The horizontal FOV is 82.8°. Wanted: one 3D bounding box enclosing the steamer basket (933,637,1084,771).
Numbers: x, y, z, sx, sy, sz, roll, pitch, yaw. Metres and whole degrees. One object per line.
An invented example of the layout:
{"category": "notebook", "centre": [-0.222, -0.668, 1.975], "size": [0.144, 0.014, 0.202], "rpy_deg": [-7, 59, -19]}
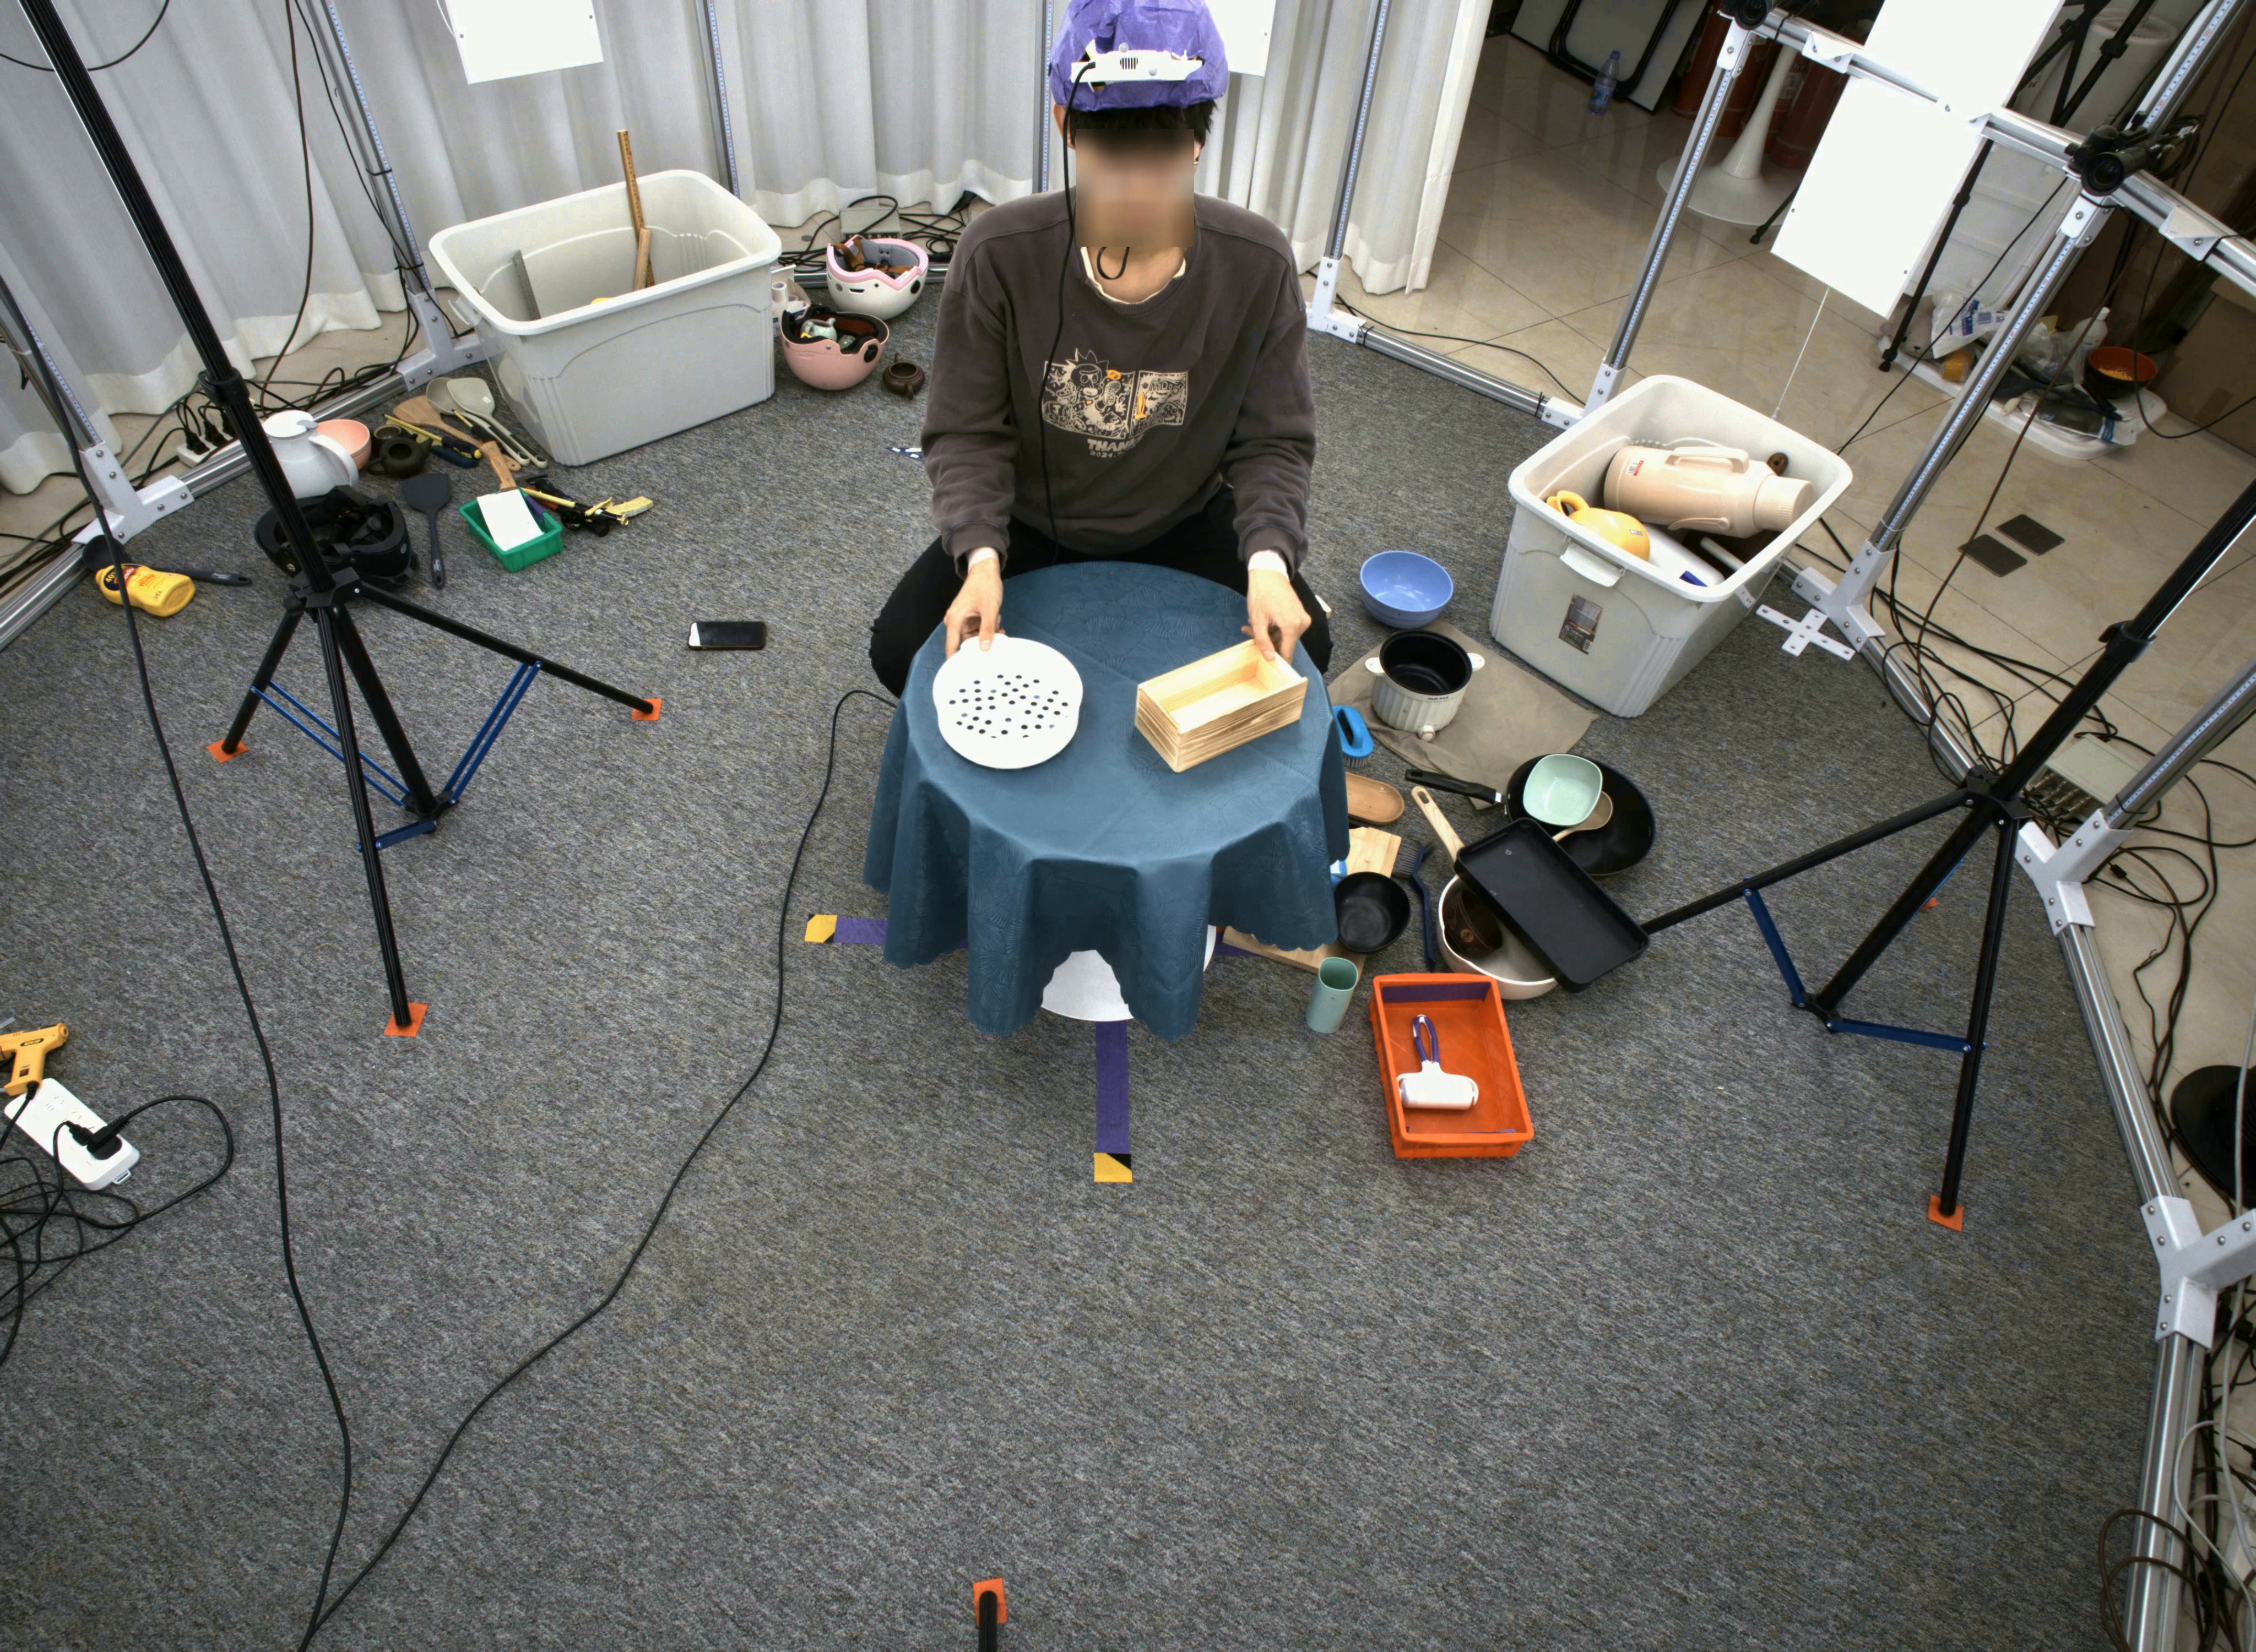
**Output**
{"category": "steamer basket", "centre": [-0.162, -0.163, 1.753], "size": [0.202, 0.067, 0.236], "rpy_deg": [-15, 50, -17]}

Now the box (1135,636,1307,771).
{"category": "box", "centre": [0.127, -0.171, 1.770], "size": [0.212, 0.078, 0.110], "rpy_deg": [-24, 54, -22]}
